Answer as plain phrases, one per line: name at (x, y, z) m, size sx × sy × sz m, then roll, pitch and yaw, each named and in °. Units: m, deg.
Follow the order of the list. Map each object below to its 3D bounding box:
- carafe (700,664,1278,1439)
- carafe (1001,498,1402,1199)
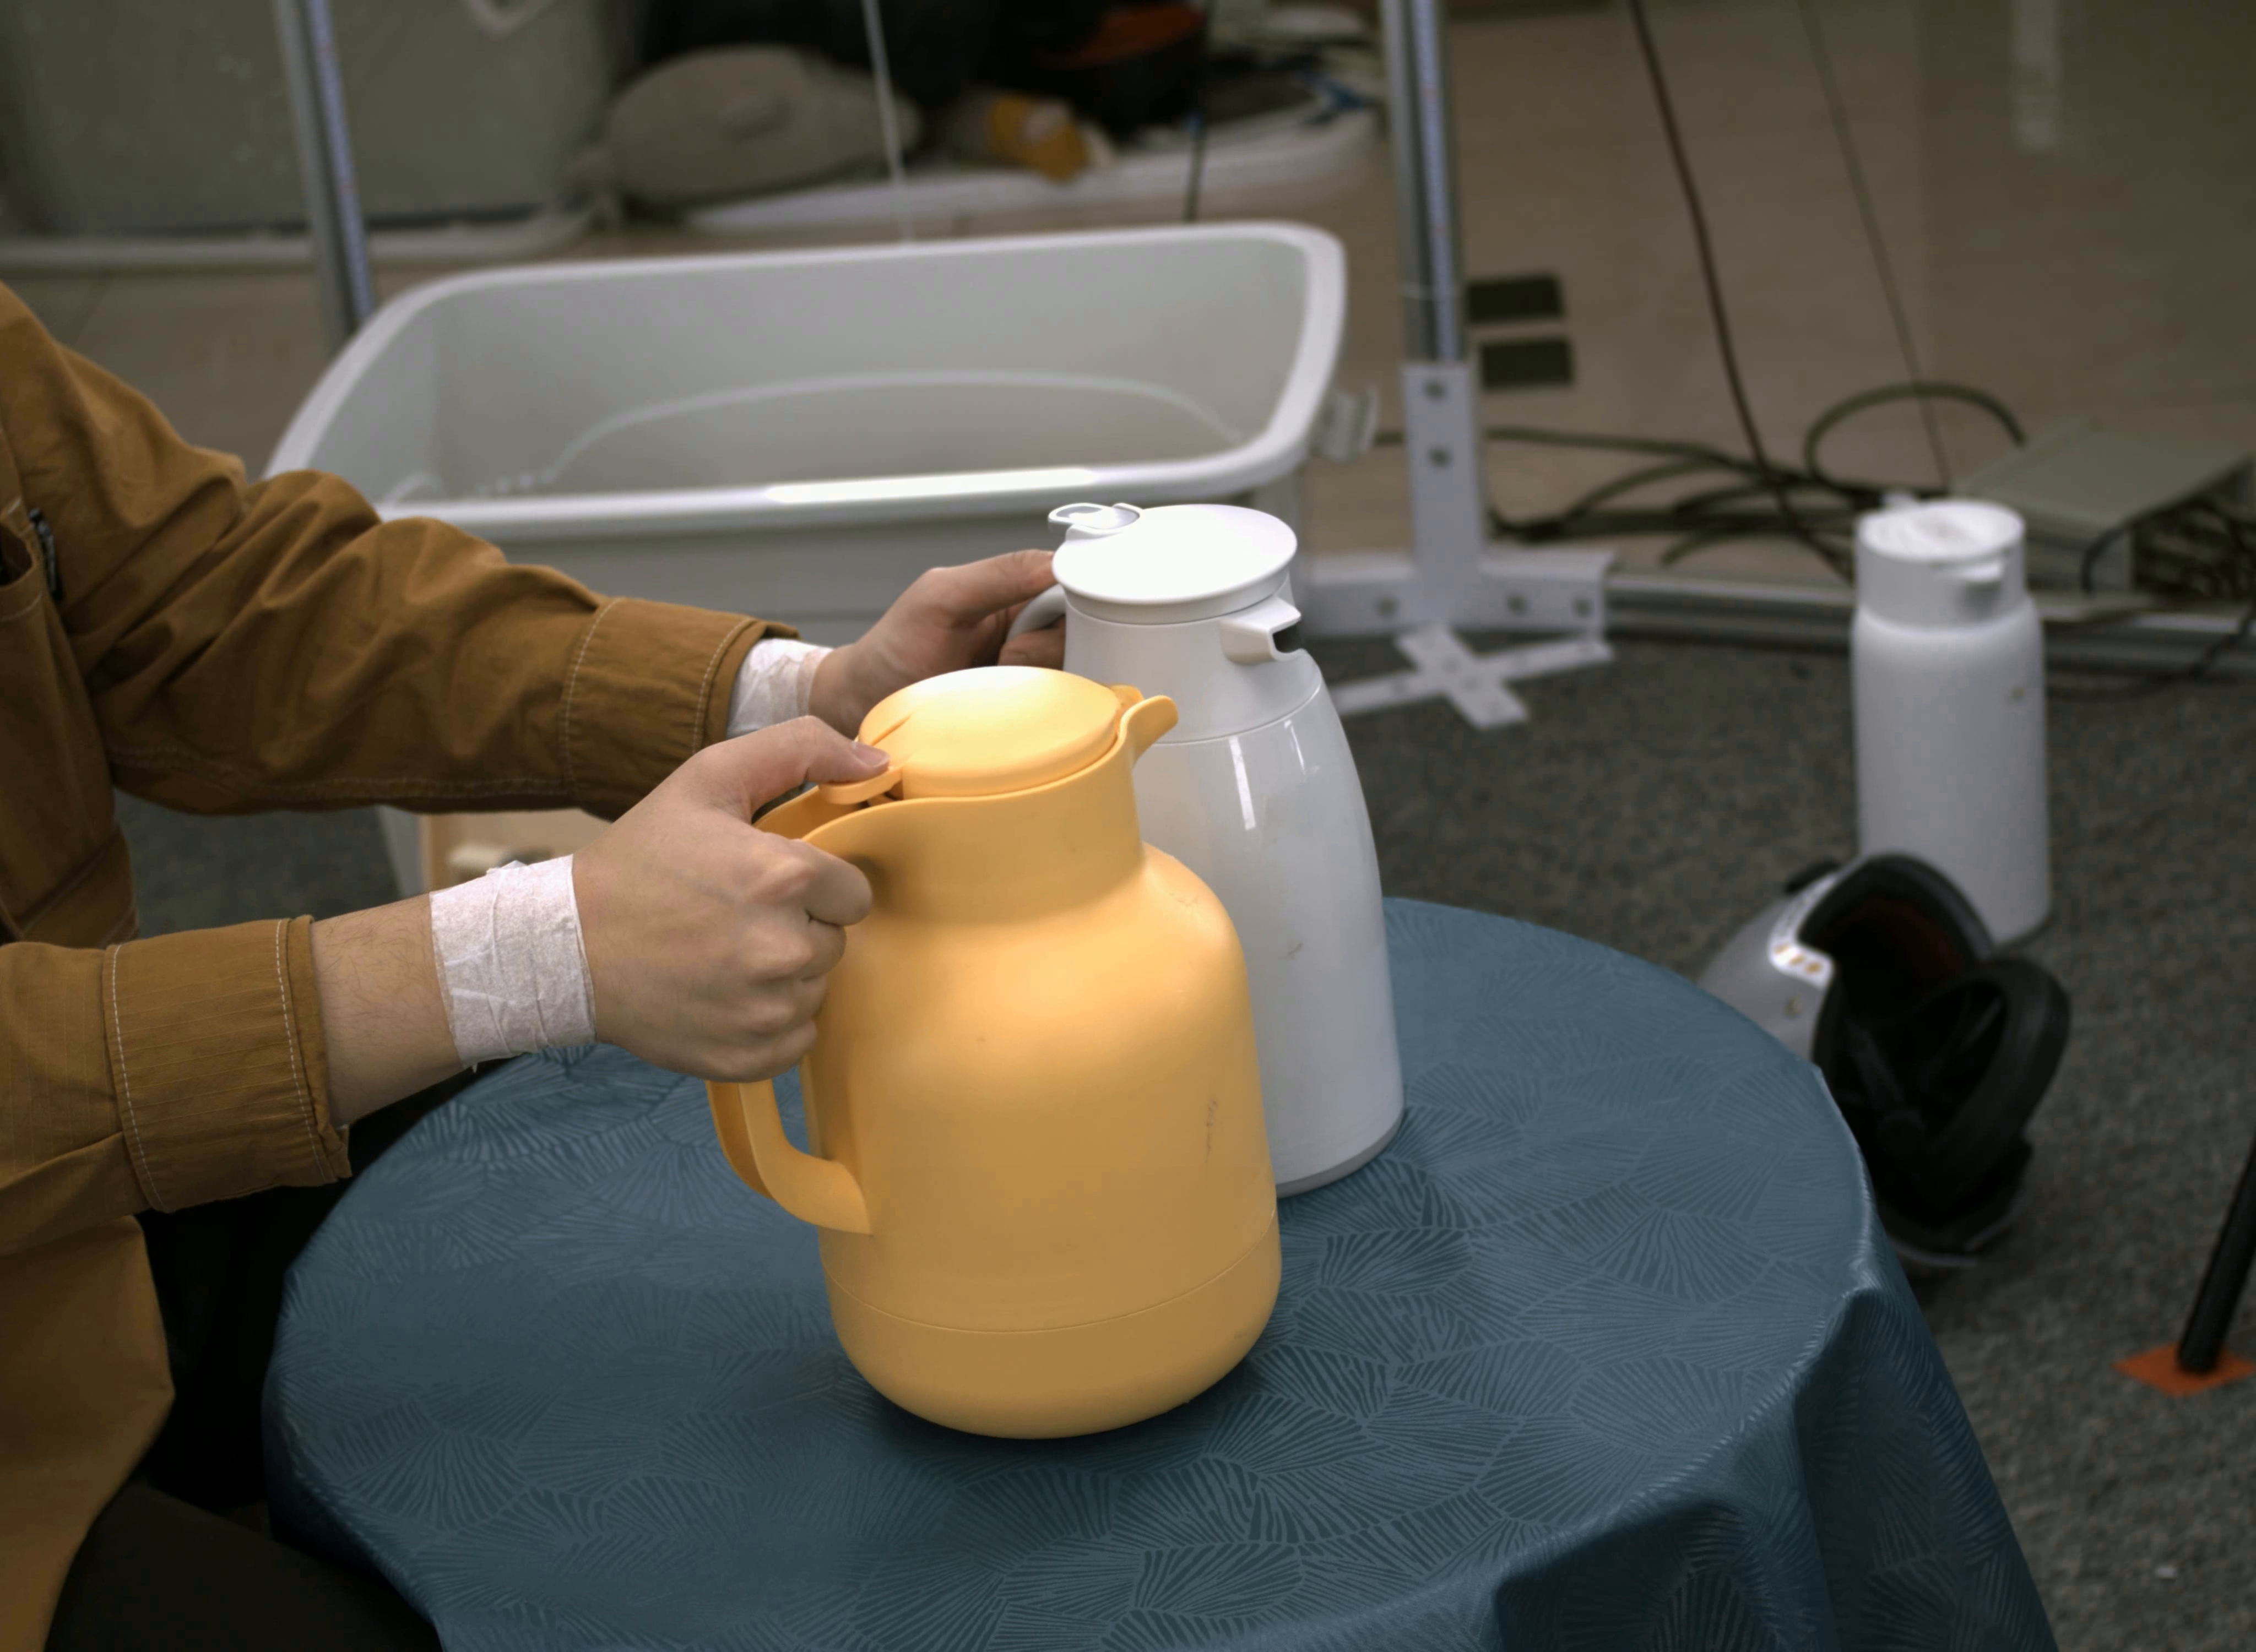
carafe at (-0.052, 0.080, 1.977) m, size 0.201 × 0.264 × 0.162 m, roll -20°, pitch 27°, yaw -28°
carafe at (0.015, -0.001, 2.147) m, size 0.131 × 0.252 × 0.166 m, roll -26°, pitch 31°, yaw -35°
